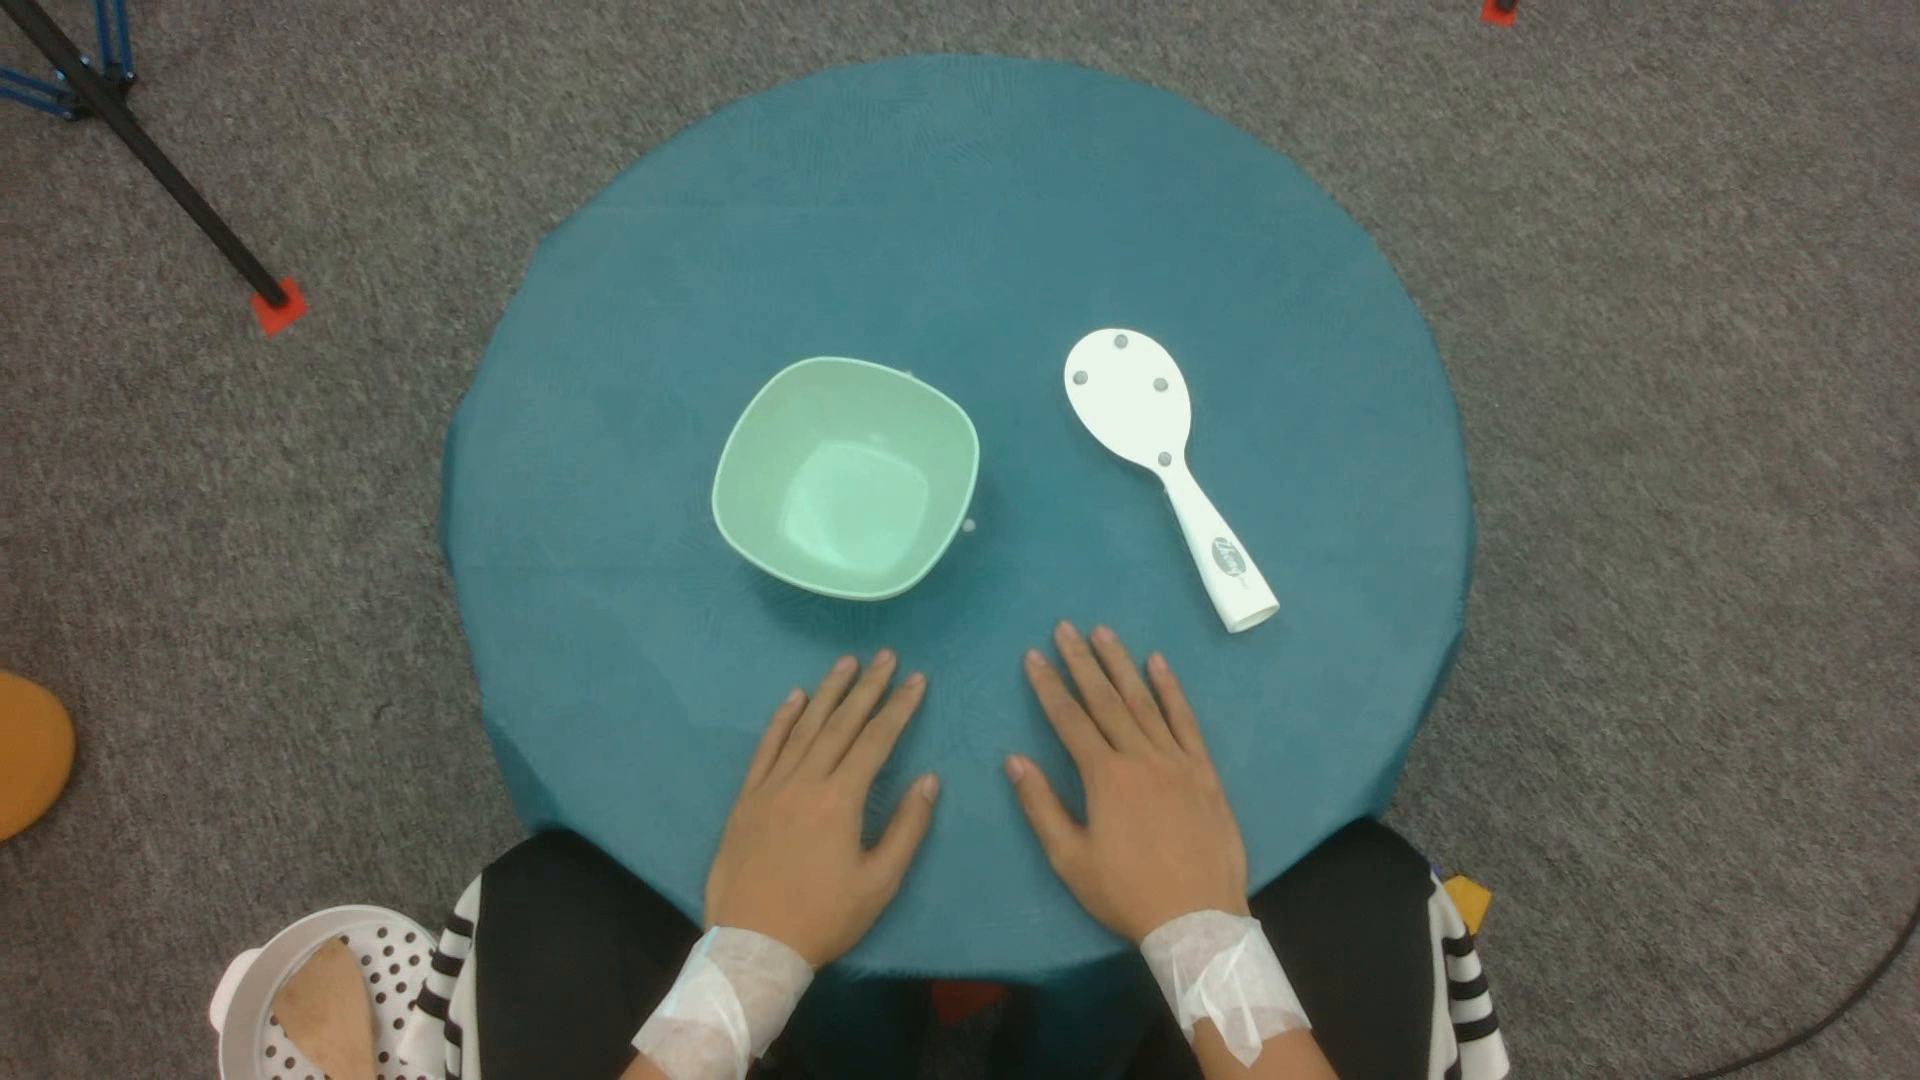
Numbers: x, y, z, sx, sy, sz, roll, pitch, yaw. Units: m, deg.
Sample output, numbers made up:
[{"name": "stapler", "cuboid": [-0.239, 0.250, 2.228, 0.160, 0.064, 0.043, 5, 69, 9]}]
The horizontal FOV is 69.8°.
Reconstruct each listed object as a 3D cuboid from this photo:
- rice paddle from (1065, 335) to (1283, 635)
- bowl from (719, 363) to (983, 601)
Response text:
[{"name": "rice paddle", "cuboid": [0.125, -0.040, 0.807, 0.069, 0.029, 0.205, -23, 69, -10]}, {"name": "bowl", "cuboid": [-0.060, -0.025, 0.790, 0.151, 0.058, 0.152, 0, 65, 0]}]
